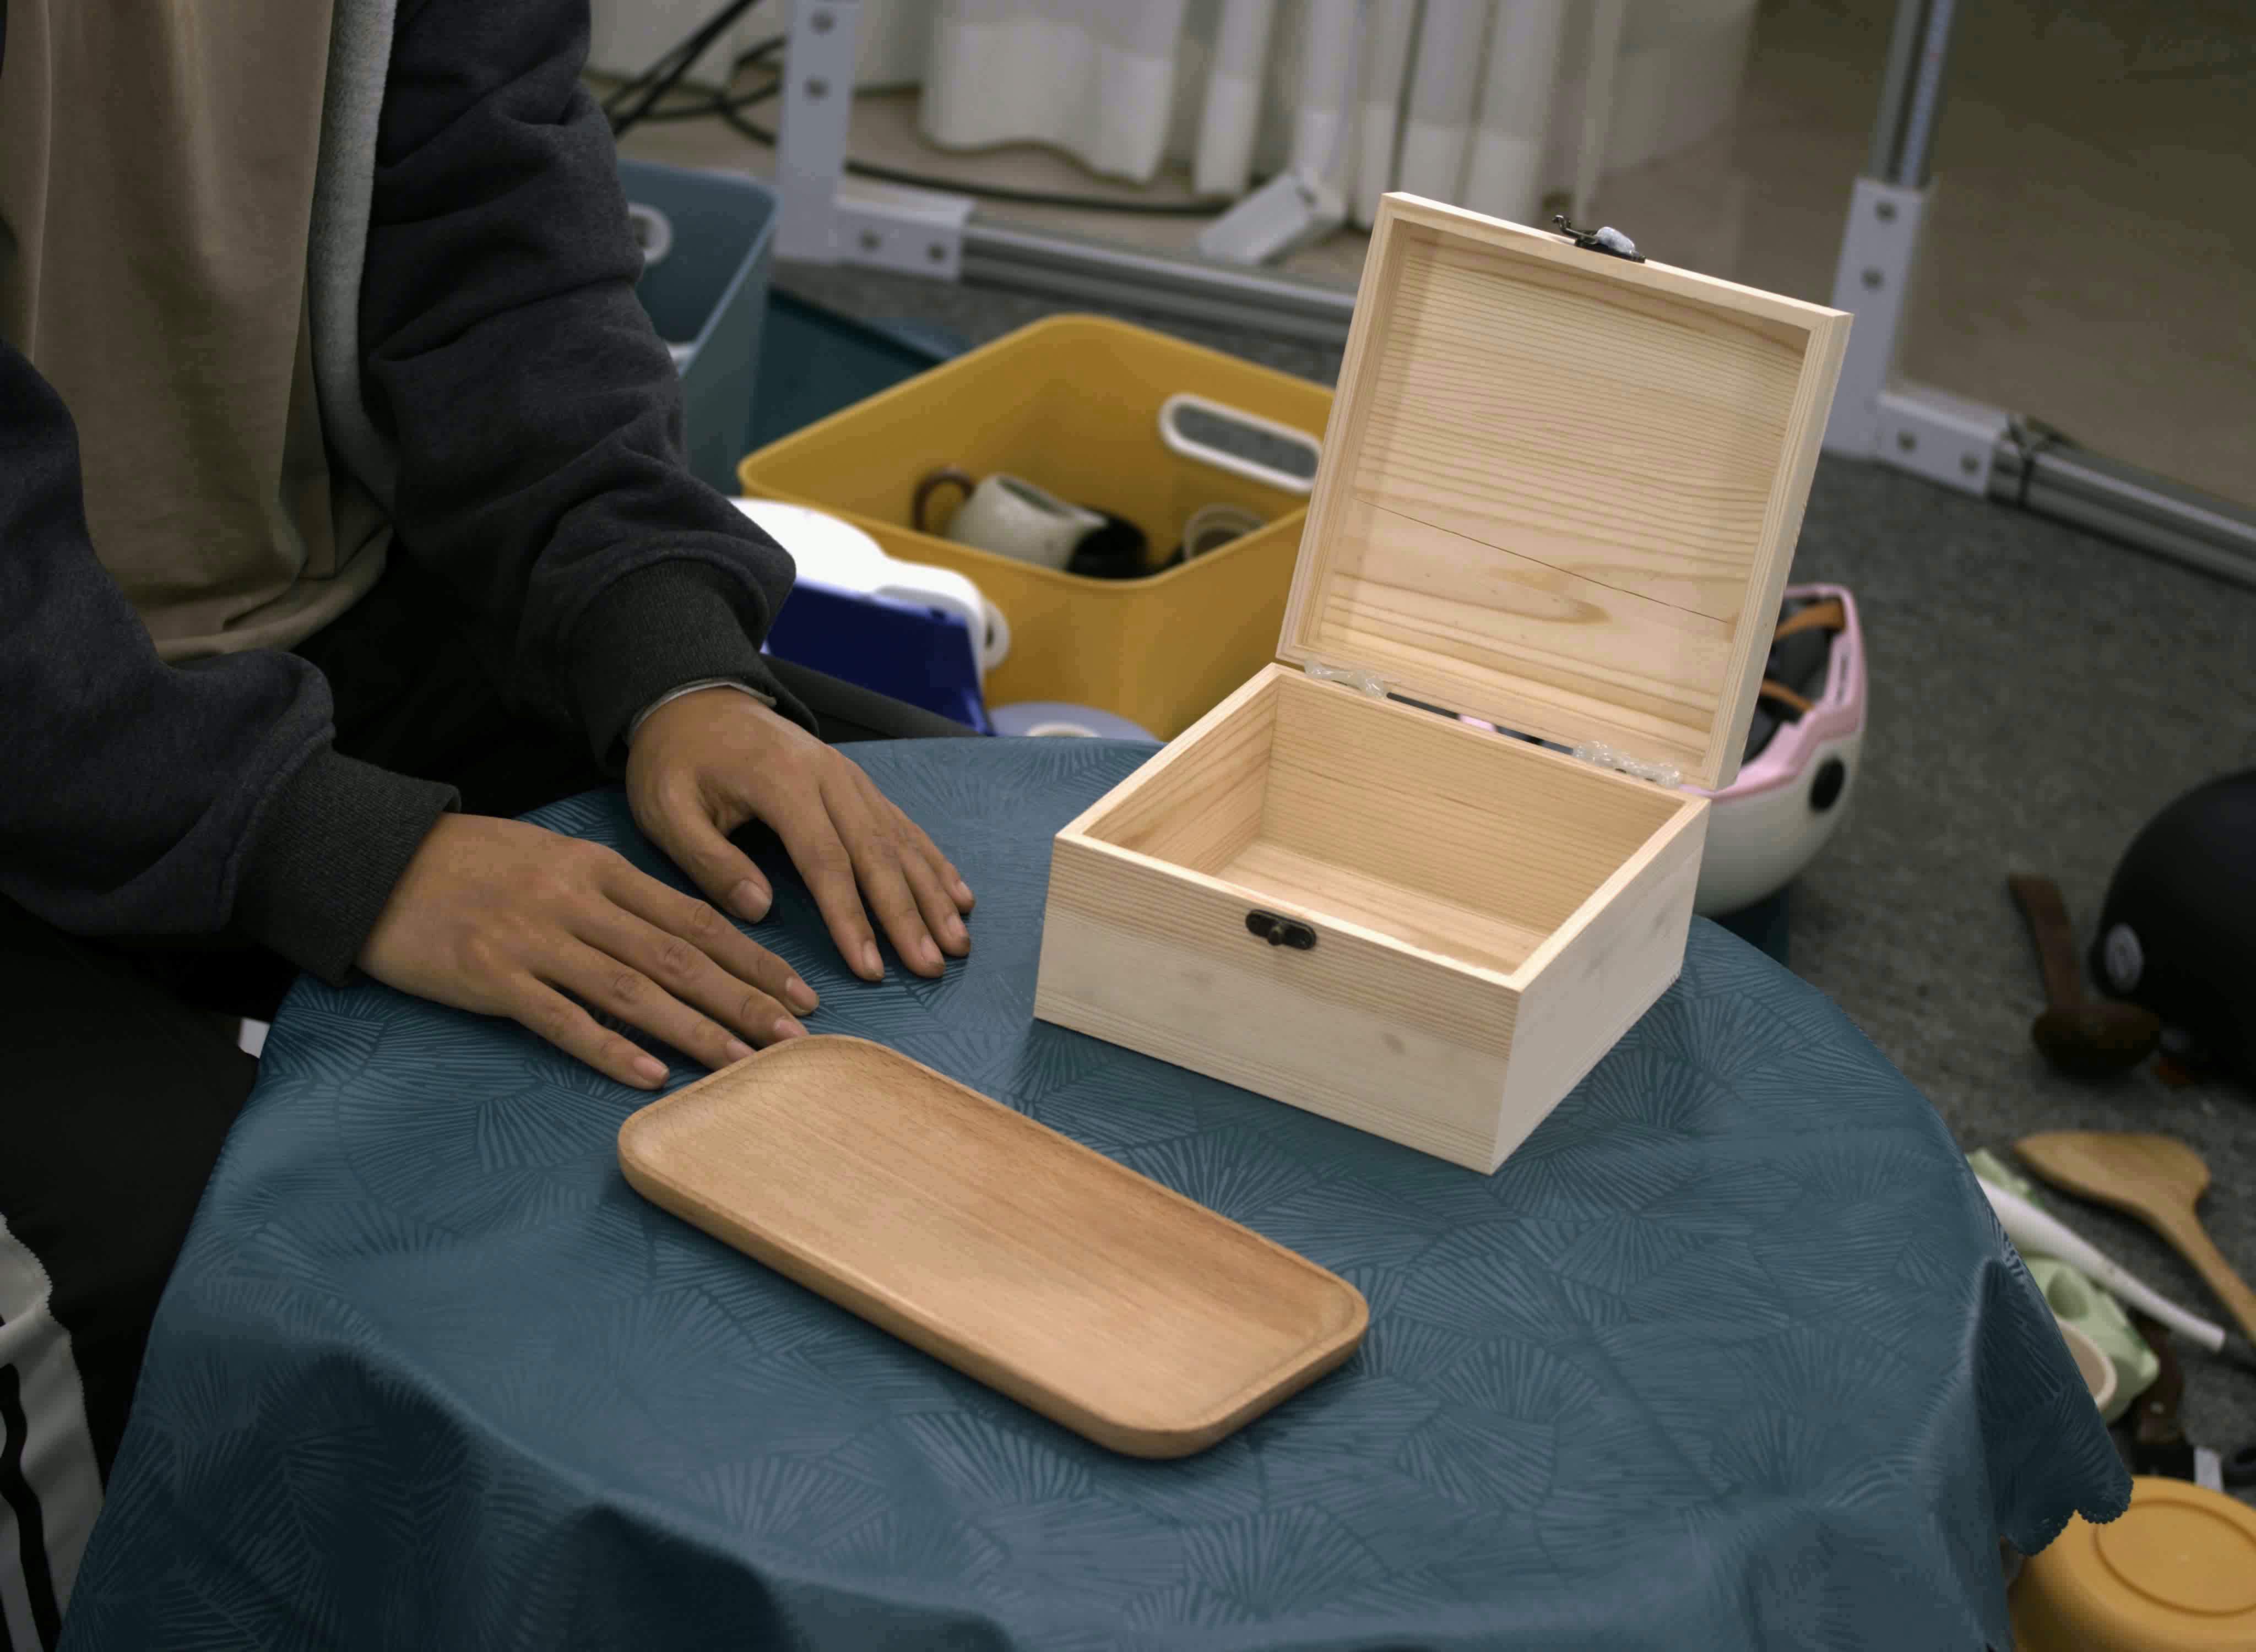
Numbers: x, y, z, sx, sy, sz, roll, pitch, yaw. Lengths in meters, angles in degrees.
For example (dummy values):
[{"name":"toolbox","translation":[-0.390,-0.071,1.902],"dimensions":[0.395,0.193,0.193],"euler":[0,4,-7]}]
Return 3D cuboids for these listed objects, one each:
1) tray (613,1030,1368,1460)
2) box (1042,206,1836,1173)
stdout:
[{"name":"tray","translation":[-0.047,0.135,1.748],"dimensions":[0.252,0.023,0.130],"euler":[25,29,33]},{"name":"box","translation":[0.113,-0.059,1.917],"dimensions":[0.182,0.252,0.265],"euler":[15,26,22]}]
